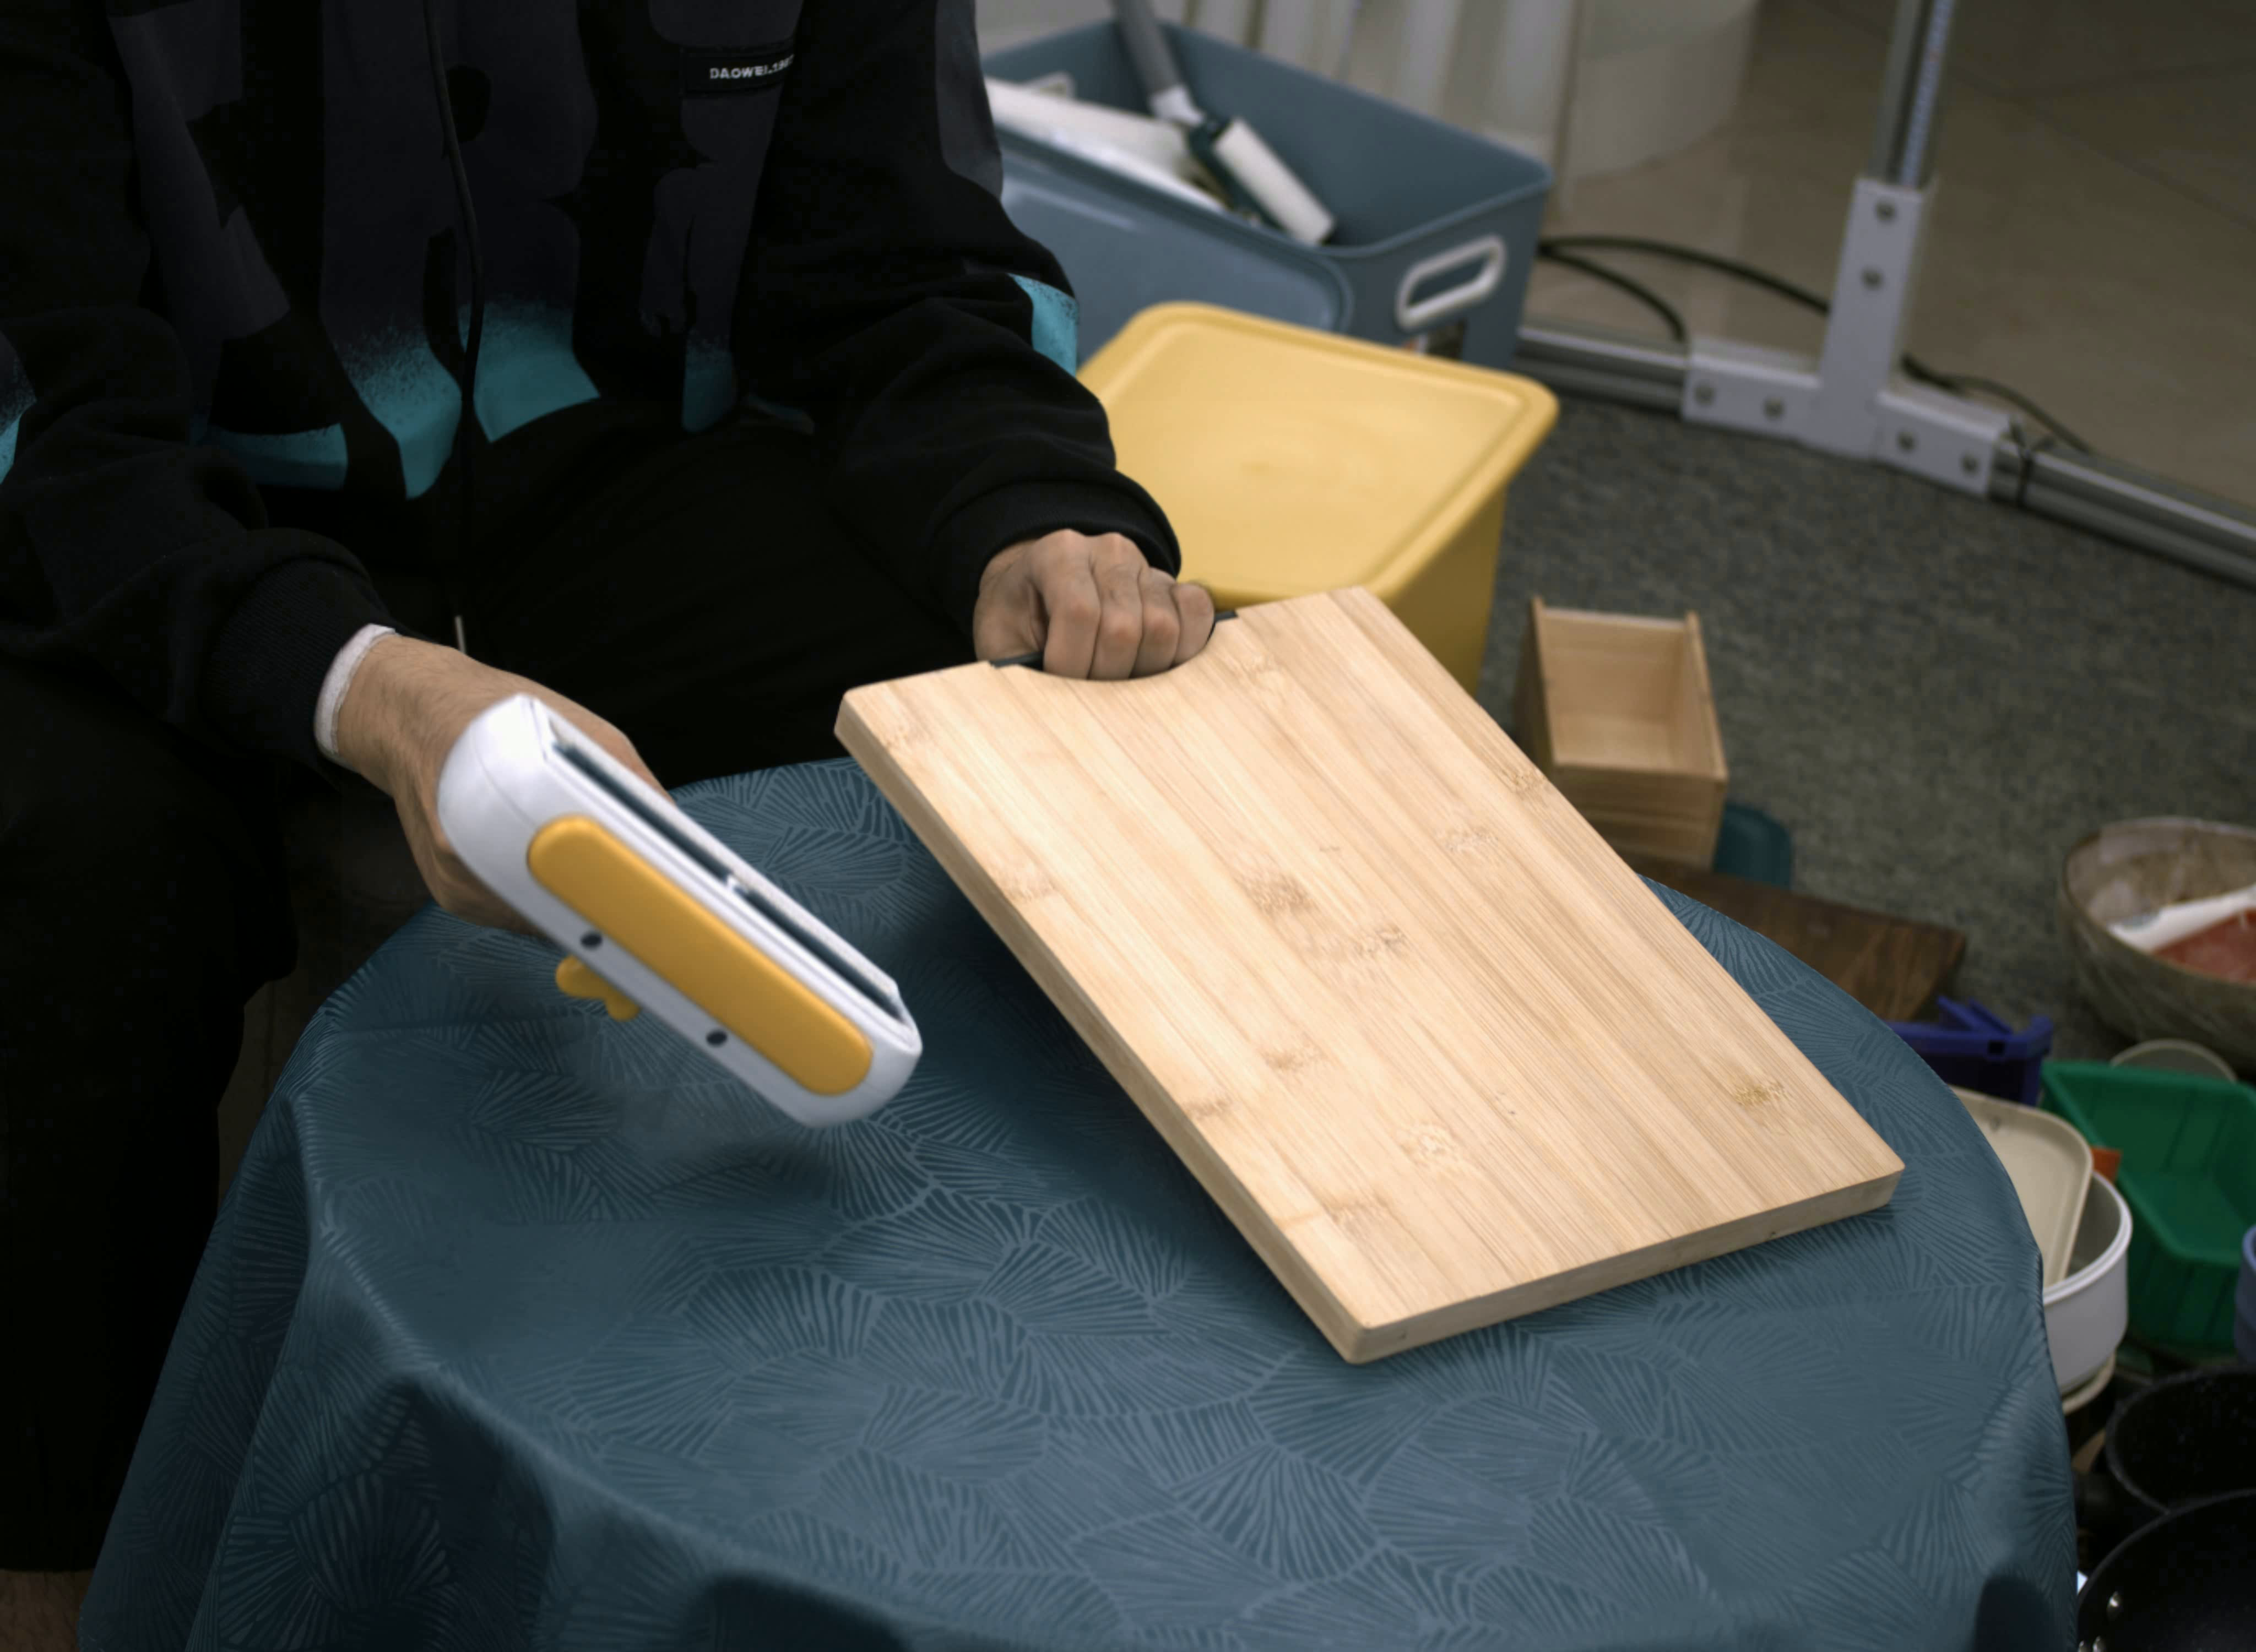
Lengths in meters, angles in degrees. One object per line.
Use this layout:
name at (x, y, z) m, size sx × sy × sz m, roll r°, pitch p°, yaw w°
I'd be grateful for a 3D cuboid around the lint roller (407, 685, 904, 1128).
lint roller at (-0.172, 0.015, 1.793) m, size 0.191 × 0.074 × 0.194 m, roll 35°, pitch 7°, yaw -24°

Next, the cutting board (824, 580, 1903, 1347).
cutting board at (0.078, 0.040, 1.880) m, size 0.249 × 0.023 × 0.352 m, roll -13°, pitch 45°, yaw -33°
